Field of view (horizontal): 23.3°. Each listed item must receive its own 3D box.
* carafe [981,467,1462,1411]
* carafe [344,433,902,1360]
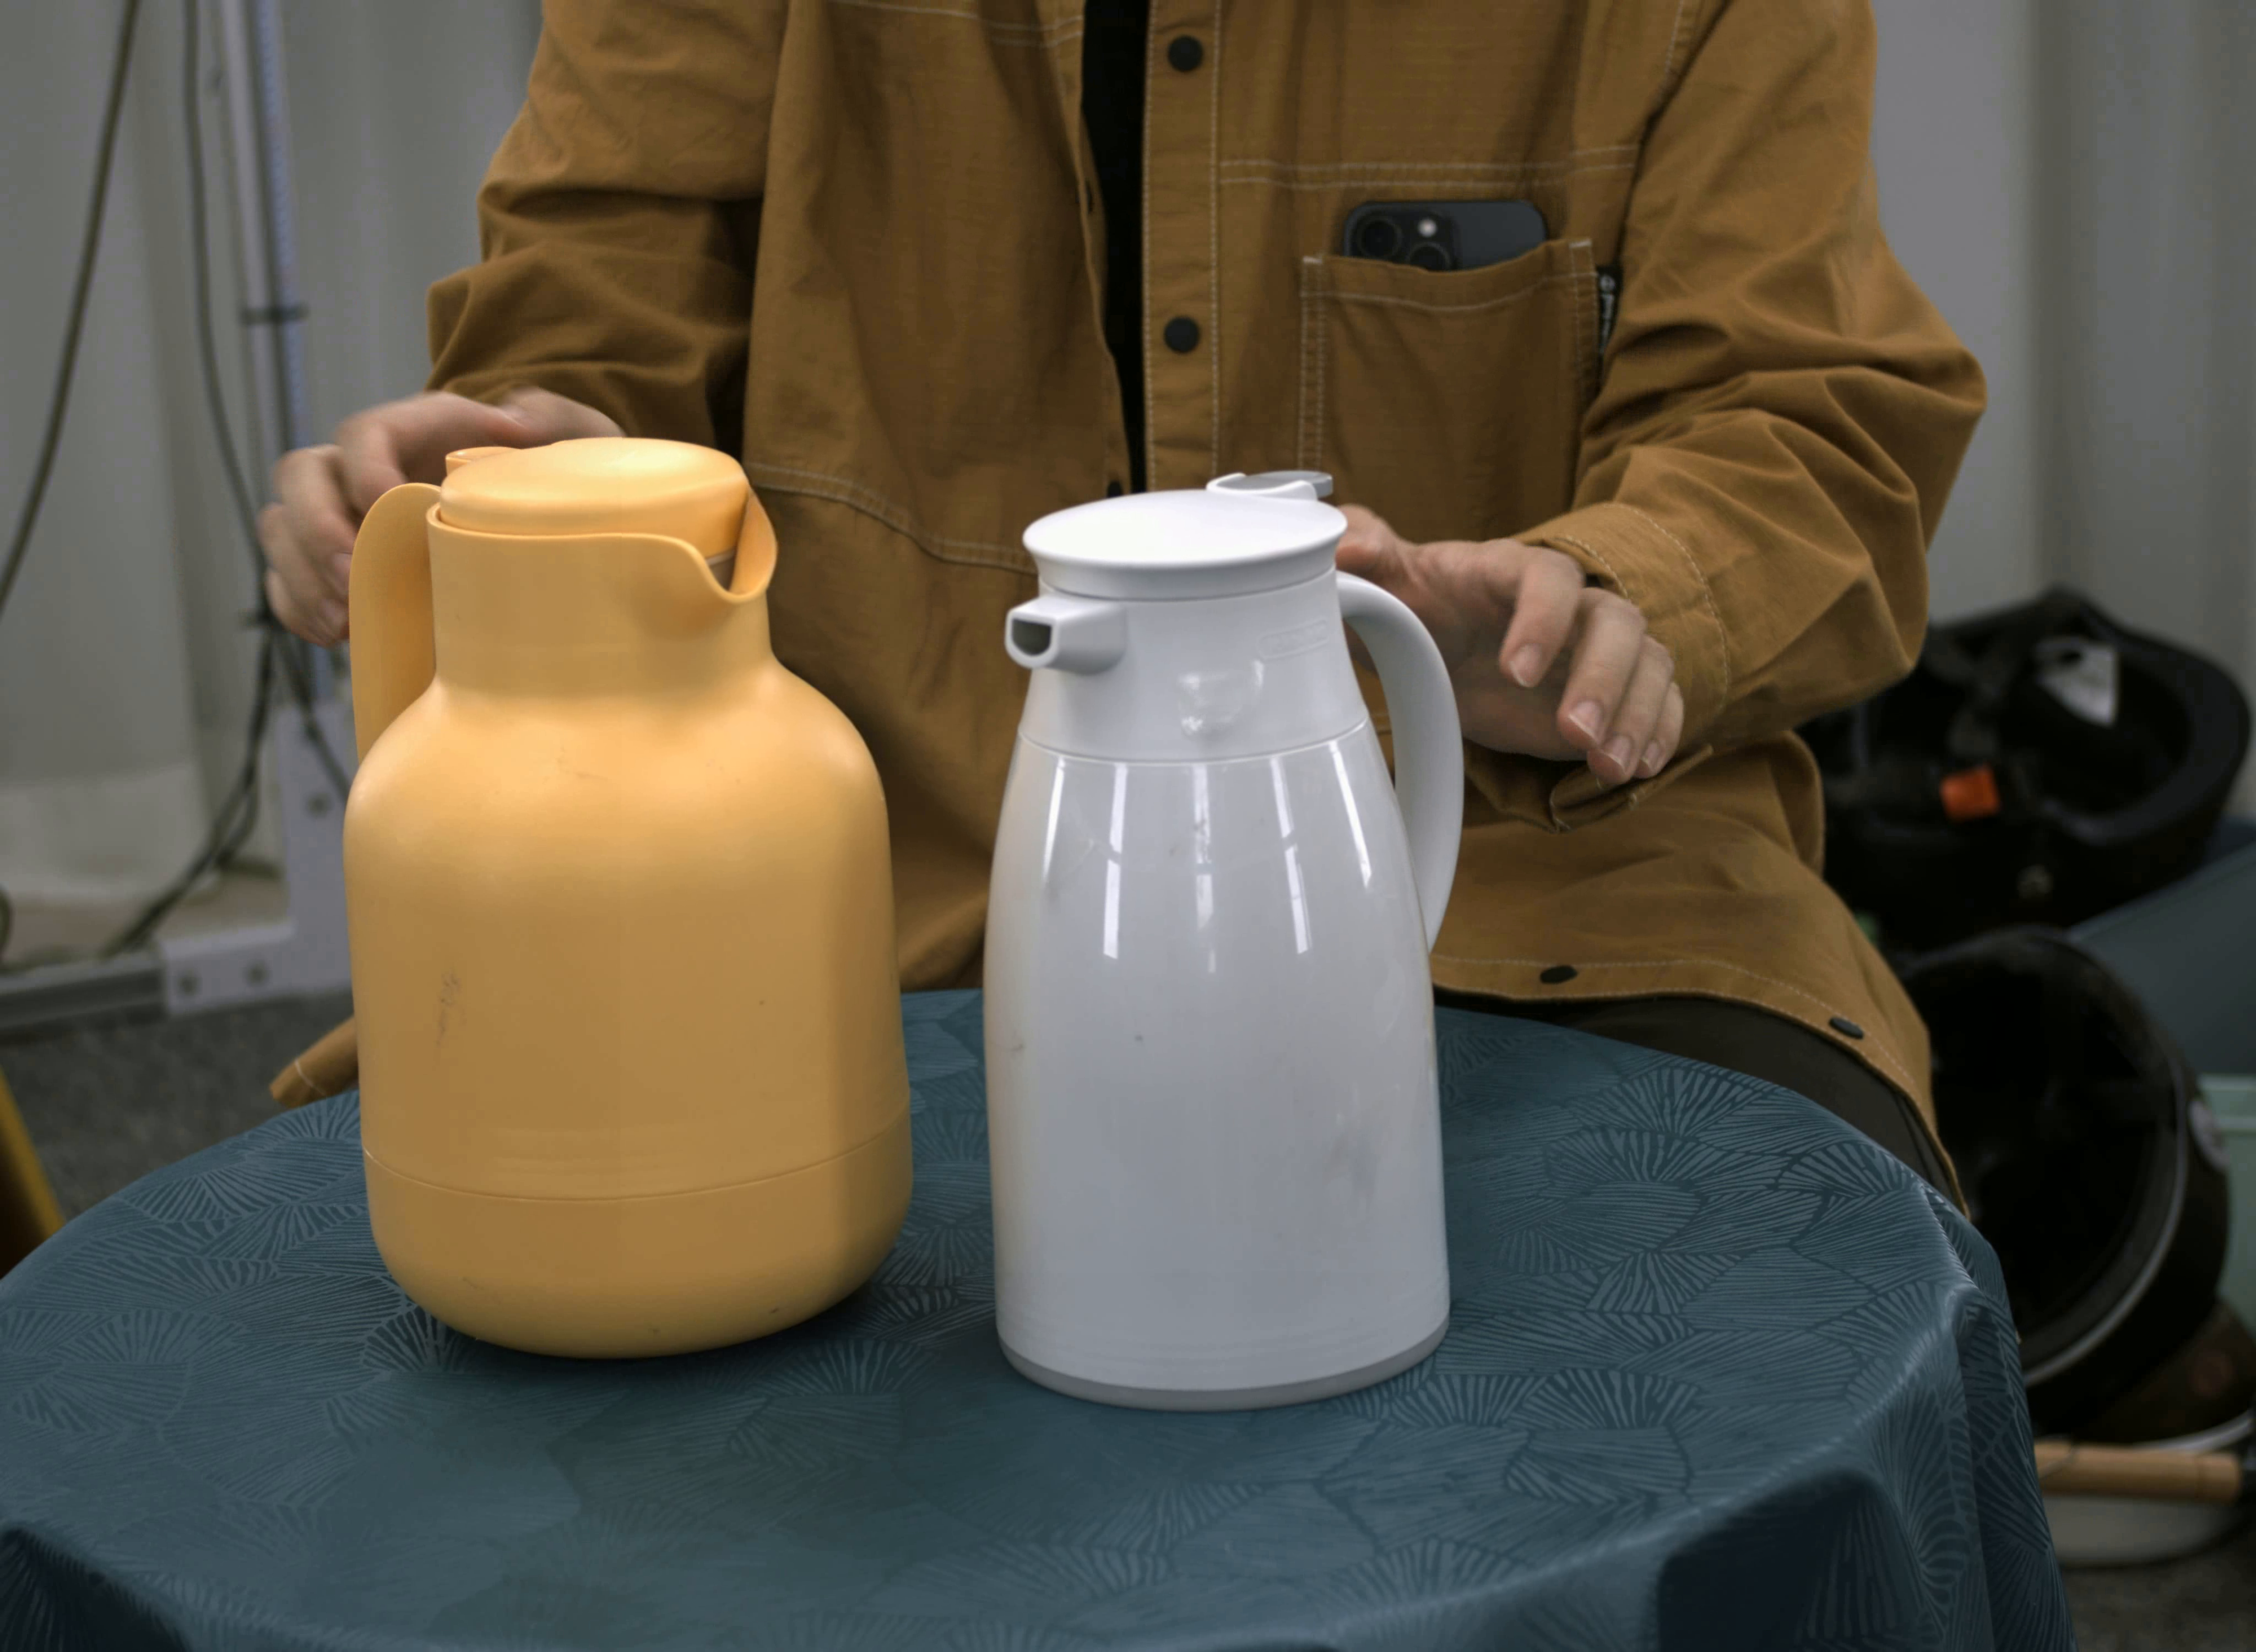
[{"bbox_3d":[0.034,0.023,1.572,0.133,0.248,0.167,10,18,43],"label":"carafe"},{"bbox_3d":[-0.161,0.013,1.627,0.163,0.259,0.204,-10,17,-36],"label":"carafe"}]
